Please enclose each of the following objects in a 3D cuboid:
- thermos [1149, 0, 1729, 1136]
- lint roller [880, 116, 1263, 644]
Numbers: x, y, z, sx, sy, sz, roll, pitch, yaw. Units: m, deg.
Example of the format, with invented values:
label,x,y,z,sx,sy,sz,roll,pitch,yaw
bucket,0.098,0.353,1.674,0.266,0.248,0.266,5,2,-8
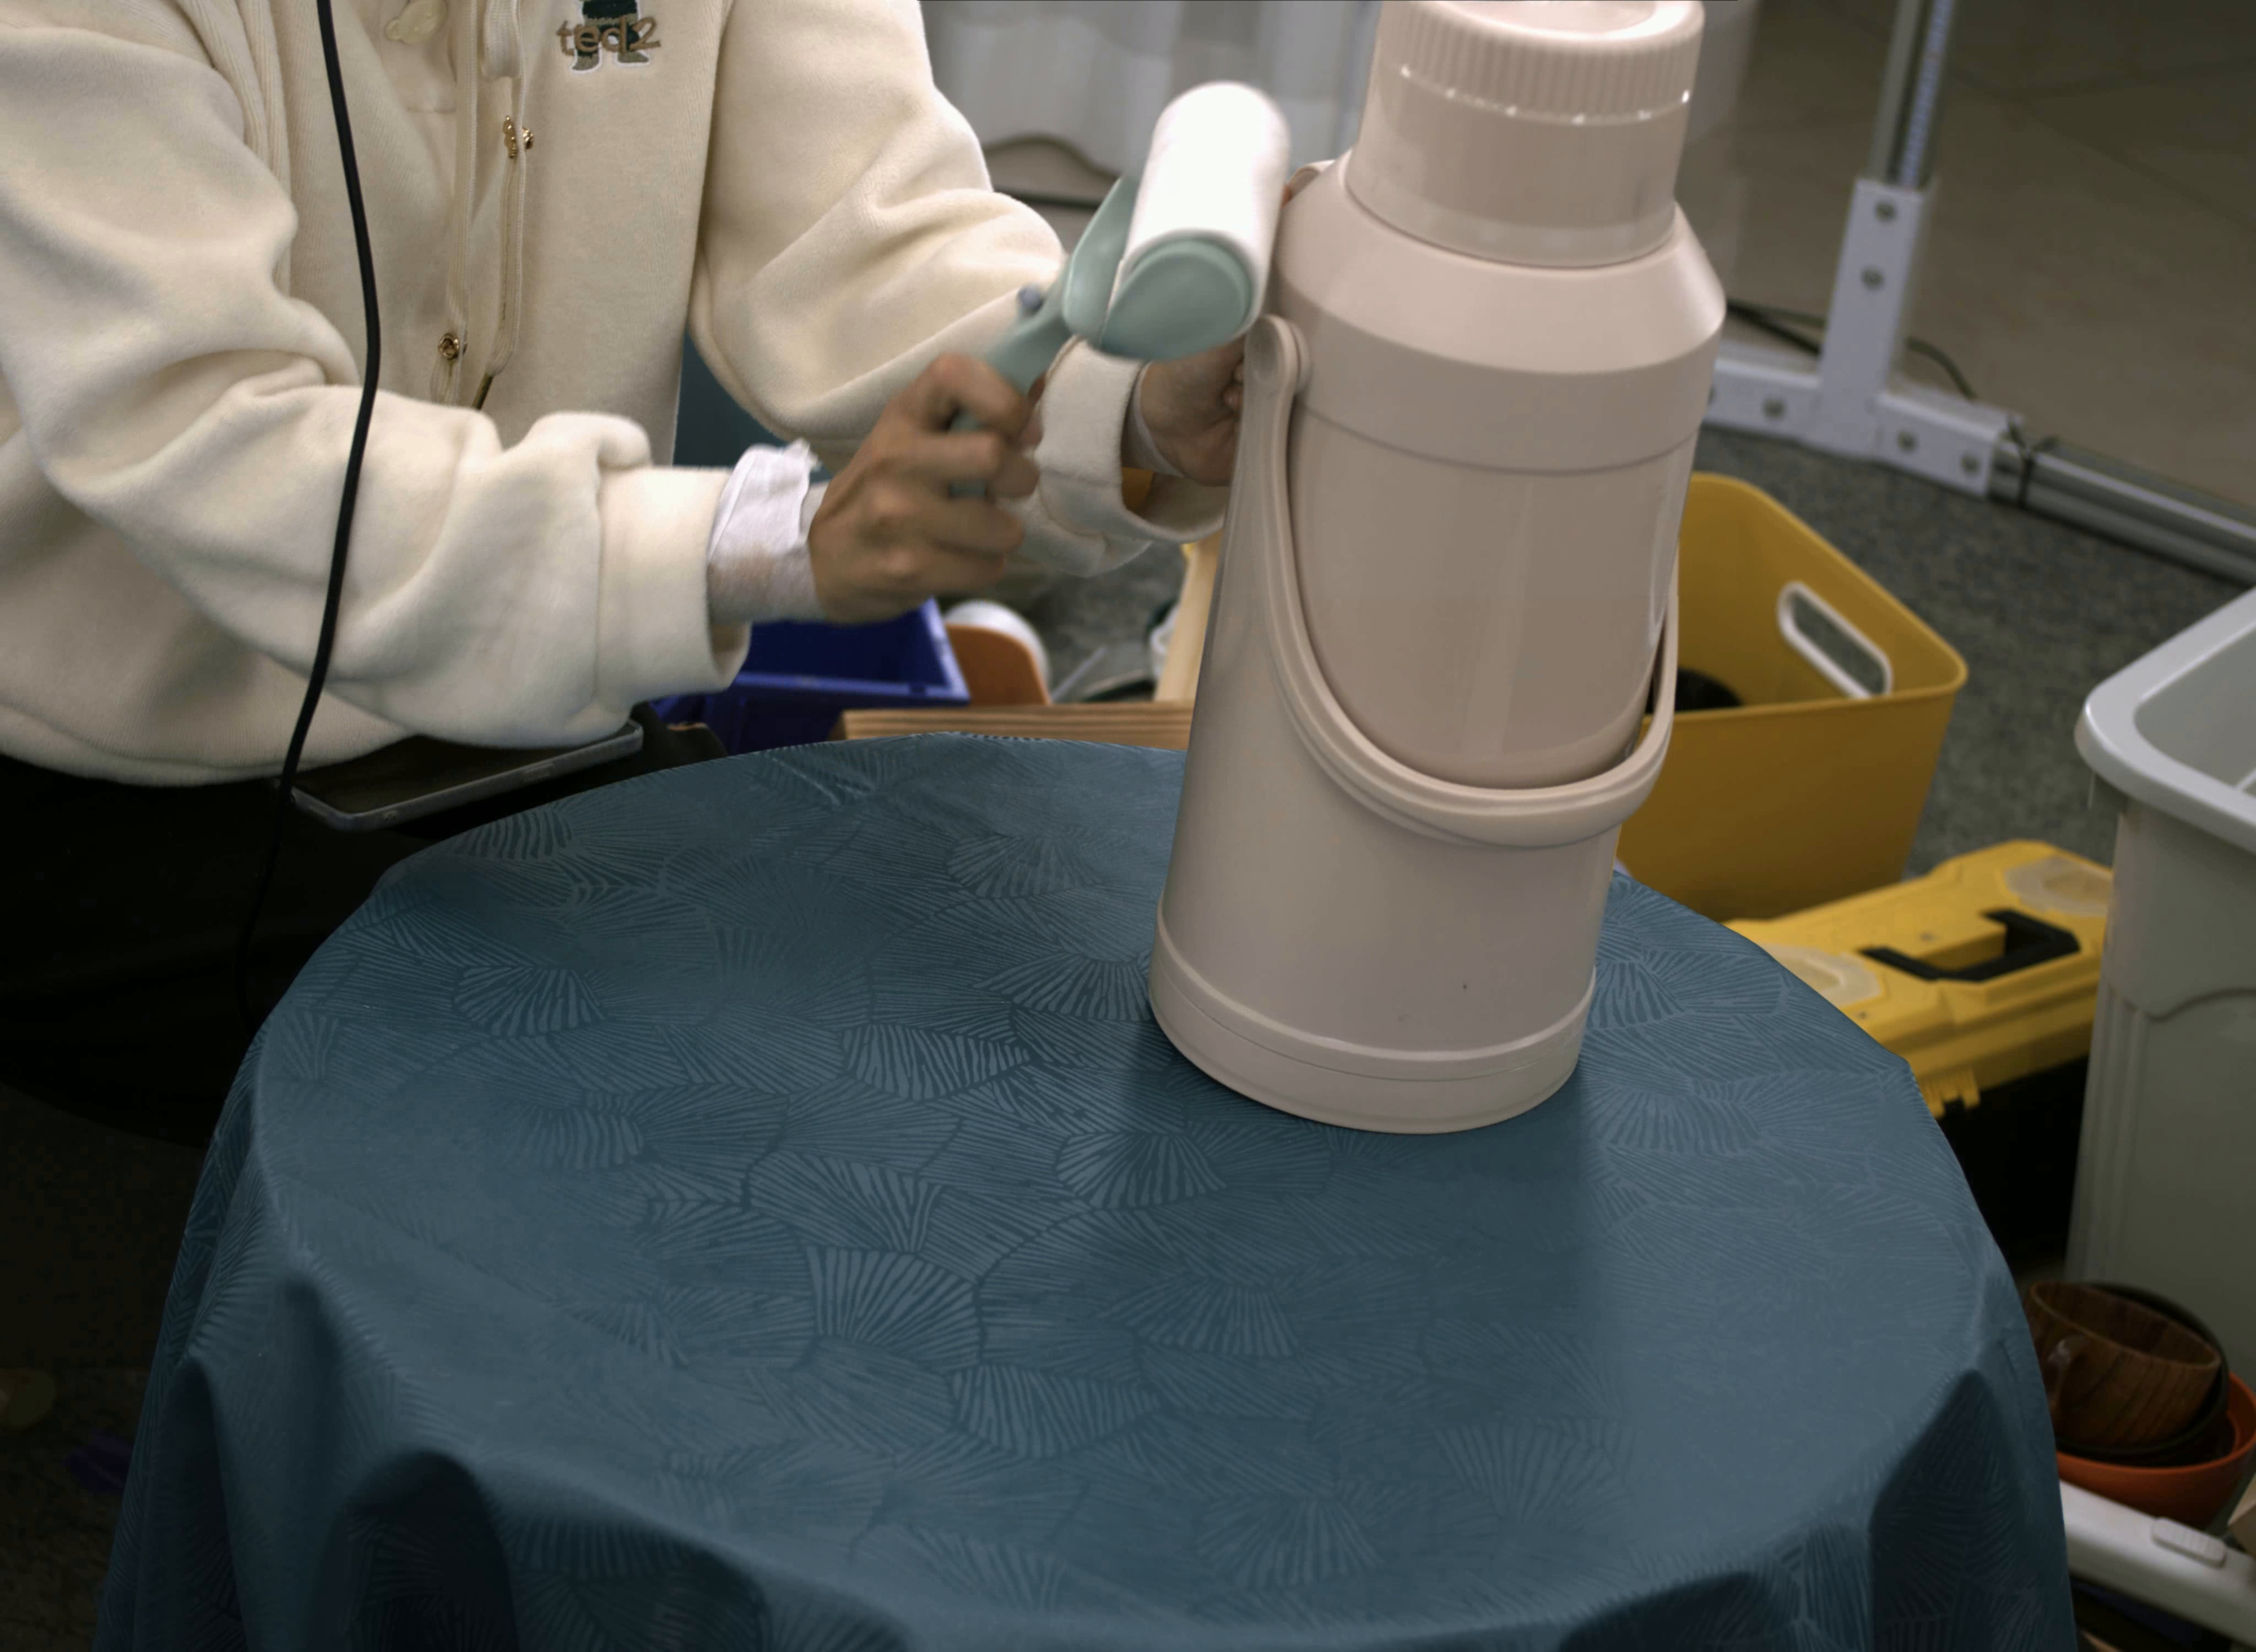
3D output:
label,x,y,z,sx,sy,sz,roll,pitch,yaw
thermos,0.106,-0.109,1.838,0.174,0.405,0.209,-9,33,-28
lint roller,-0.032,-0.148,1.809,0.048,0.197,0.117,35,16,-22
